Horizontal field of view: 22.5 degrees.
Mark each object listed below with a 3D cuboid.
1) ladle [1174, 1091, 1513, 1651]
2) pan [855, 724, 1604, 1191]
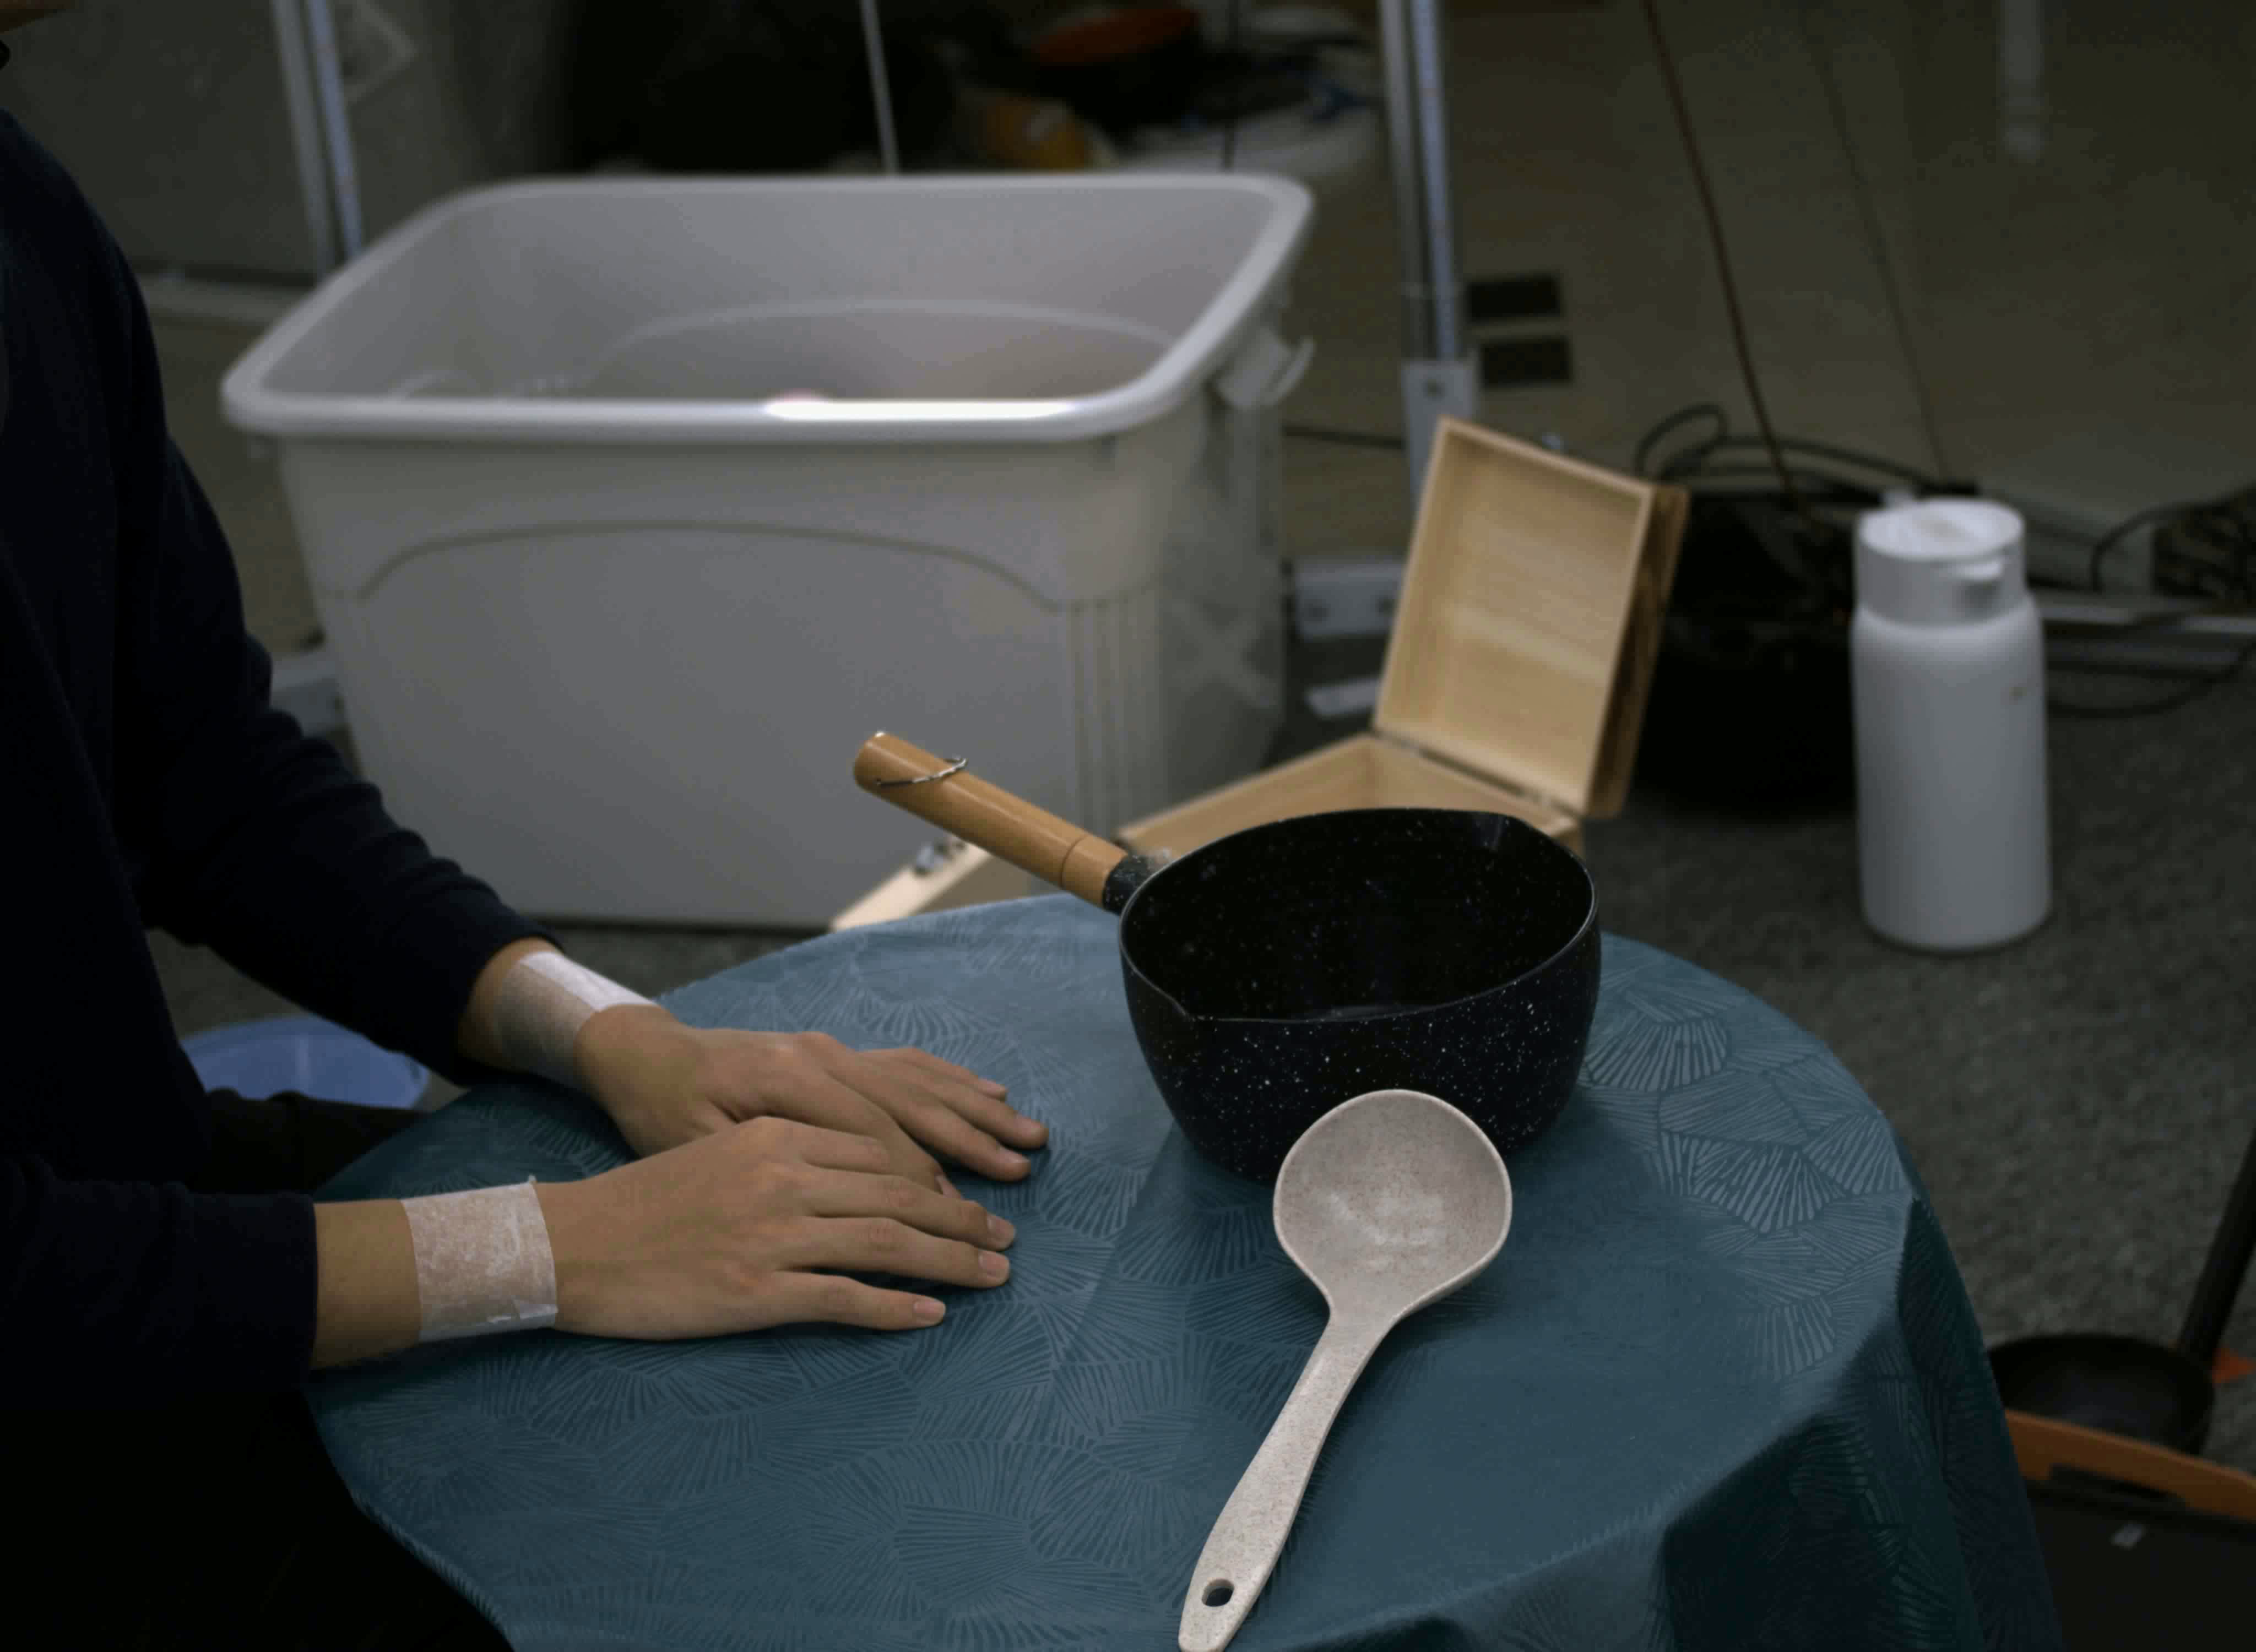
[{"bbox_3d":[0.062,0.183,1.956,0.089,0.070,0.271,7,28,17],"label":"ladle"},{"bbox_3d":[0.028,0.044,2.213,0.340,0.110,0.205,15,34,35],"label":"pan"}]
